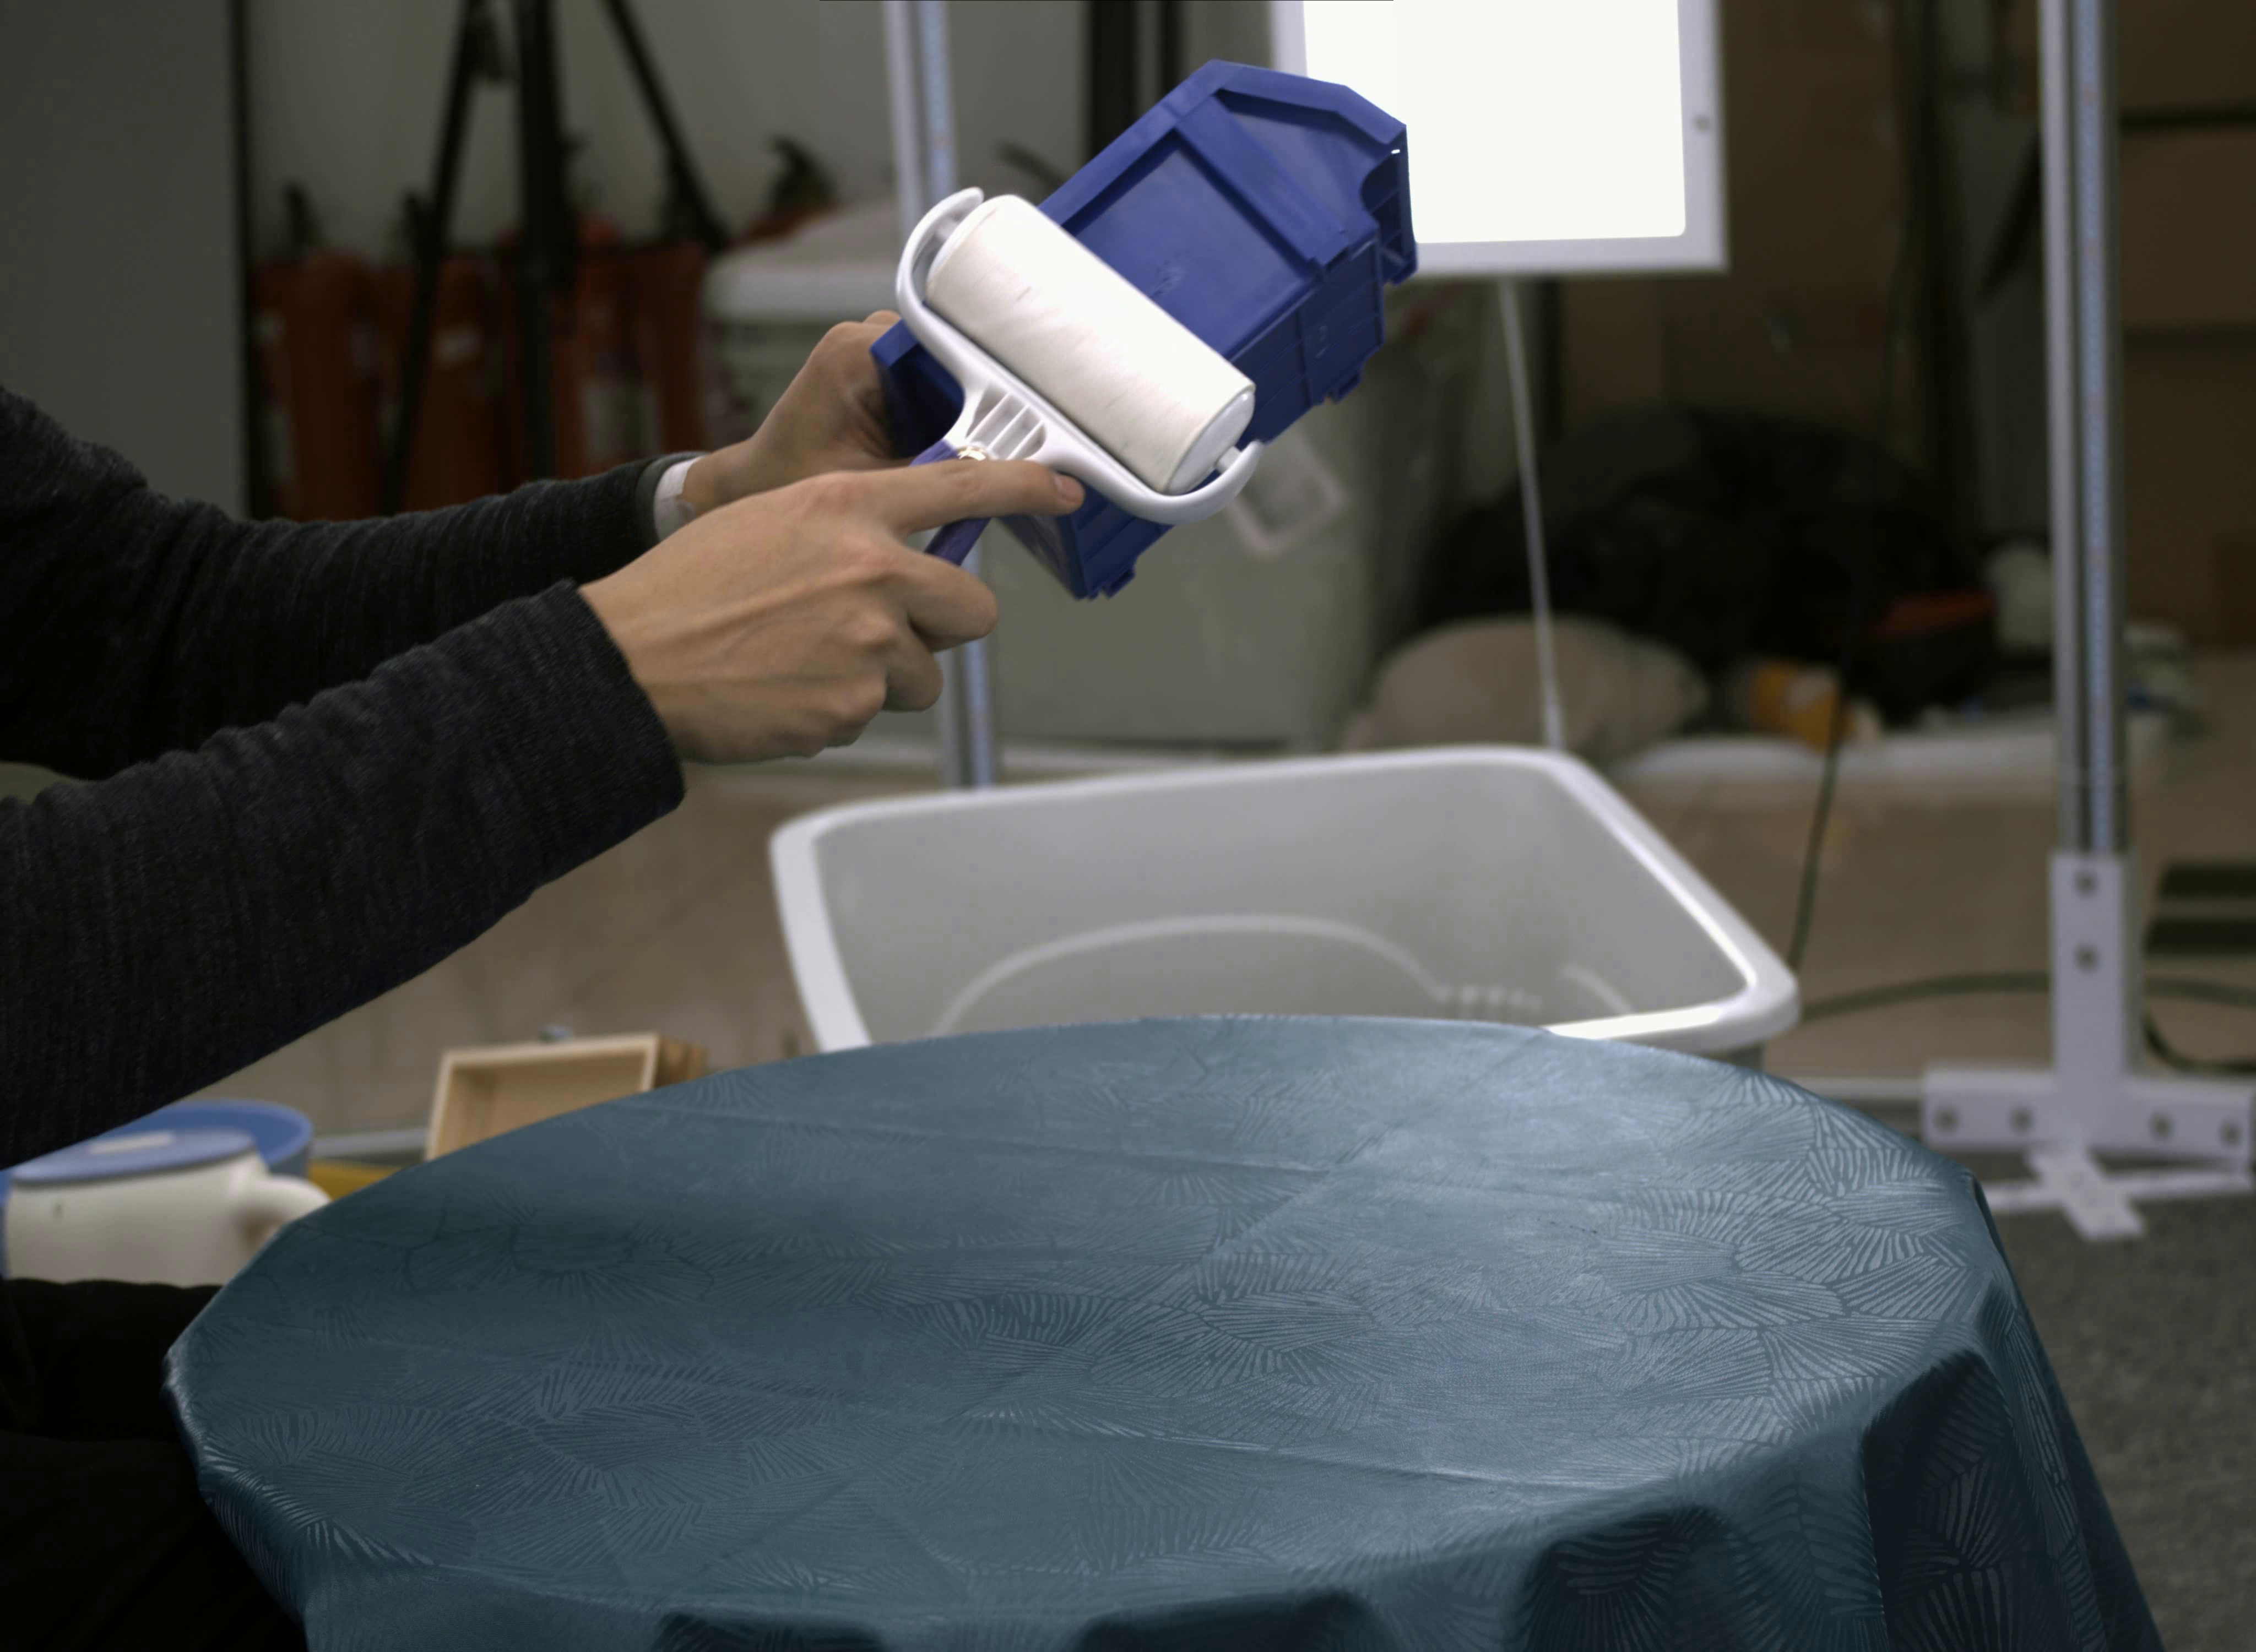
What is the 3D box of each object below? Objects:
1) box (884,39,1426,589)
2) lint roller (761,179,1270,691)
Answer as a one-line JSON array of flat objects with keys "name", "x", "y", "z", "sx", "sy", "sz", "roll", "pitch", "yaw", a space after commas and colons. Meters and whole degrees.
[{"name": "box", "x": 0.018, "y": -0.171, "z": 1.824, "sx": 0.178, "sy": 0.082, "sz": 0.124, "roll": -44, "pitch": -18, "yaw": -7}, {"name": "lint roller", "x": -0.052, "y": -0.113, "z": 1.713, "sx": 0.178, "sy": 0.133, "sz": 0.051, "roll": -45, "pitch": -8, "yaw": -27}]
